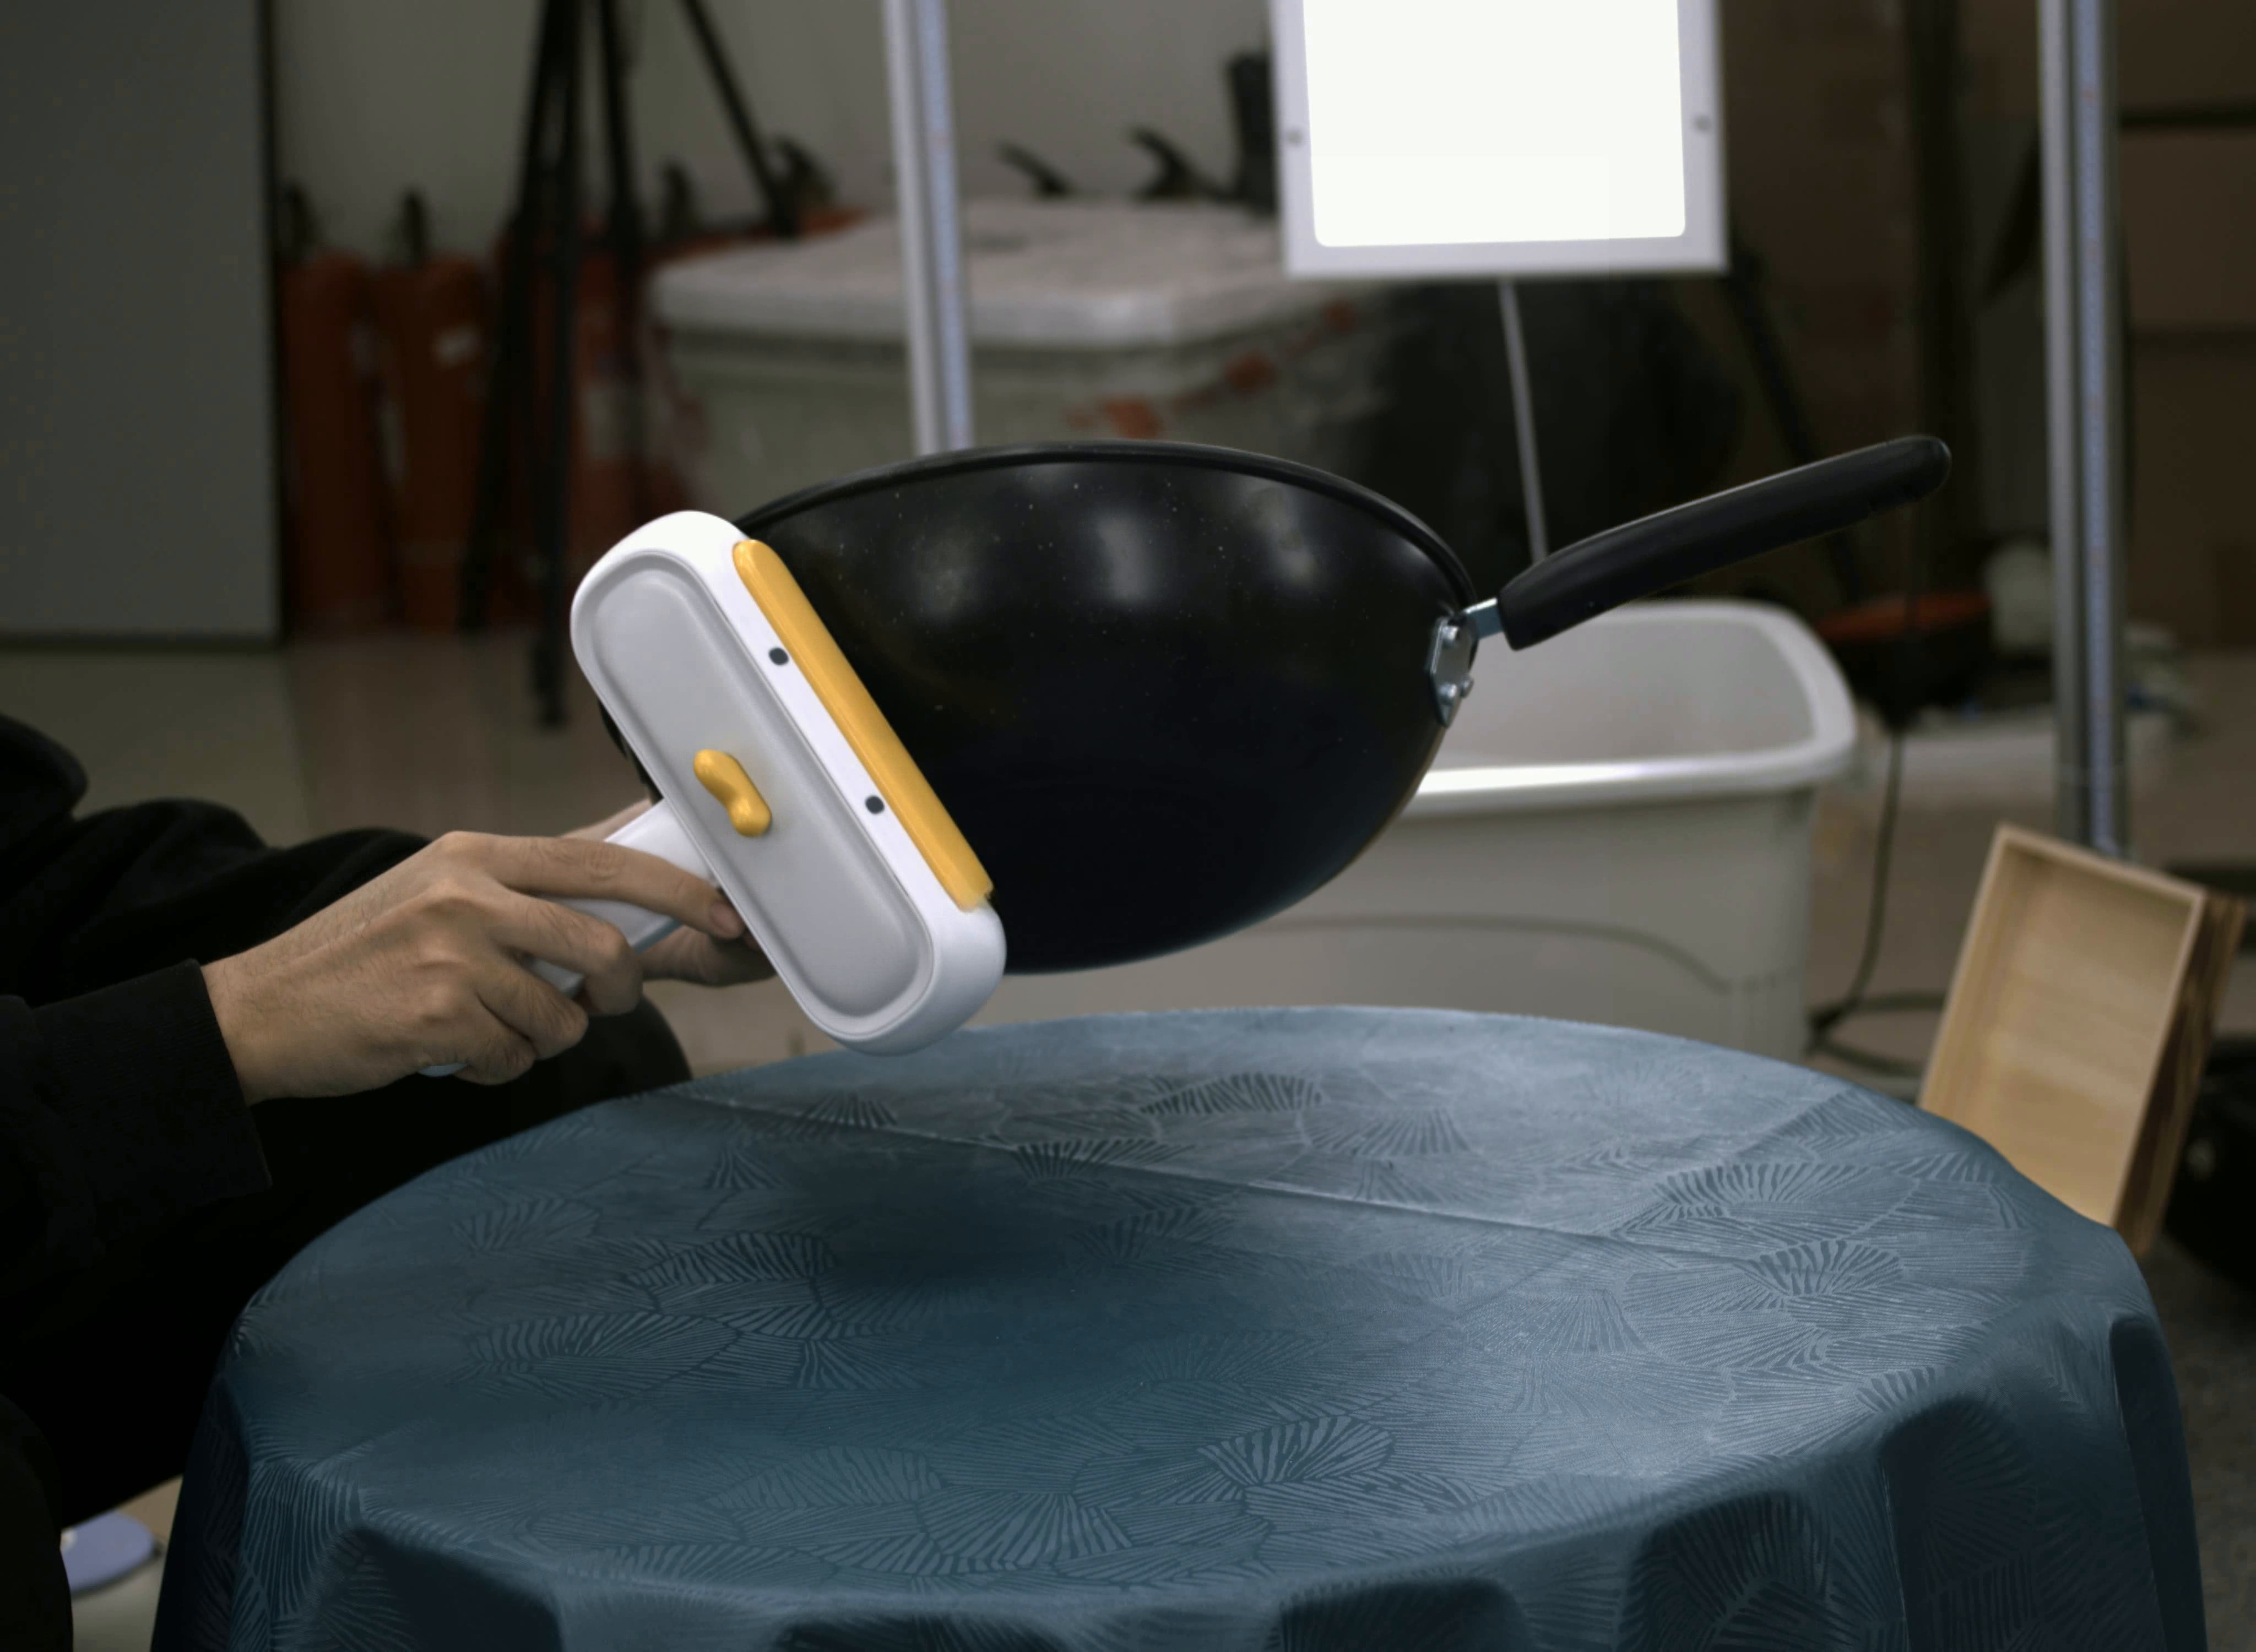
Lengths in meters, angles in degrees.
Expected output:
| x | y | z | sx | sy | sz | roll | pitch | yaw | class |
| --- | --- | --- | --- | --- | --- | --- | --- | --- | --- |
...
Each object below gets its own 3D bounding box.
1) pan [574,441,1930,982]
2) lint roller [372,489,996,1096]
| x | y | z | sx | sy | sz | roll | pitch | yaw | class |
| --- | --- | --- | --- | --- | --- | --- | --- | --- | --- |
| 0.046 | -0.042 | 1.887 | 0.479 | 0.112 | 0.308 | -9 | -25 | 9 | pan |
| -0.162 | 0.016 | 1.787 | 0.194 | 0.193 | 0.073 | -40 | -5 | 16 | lint roller |
